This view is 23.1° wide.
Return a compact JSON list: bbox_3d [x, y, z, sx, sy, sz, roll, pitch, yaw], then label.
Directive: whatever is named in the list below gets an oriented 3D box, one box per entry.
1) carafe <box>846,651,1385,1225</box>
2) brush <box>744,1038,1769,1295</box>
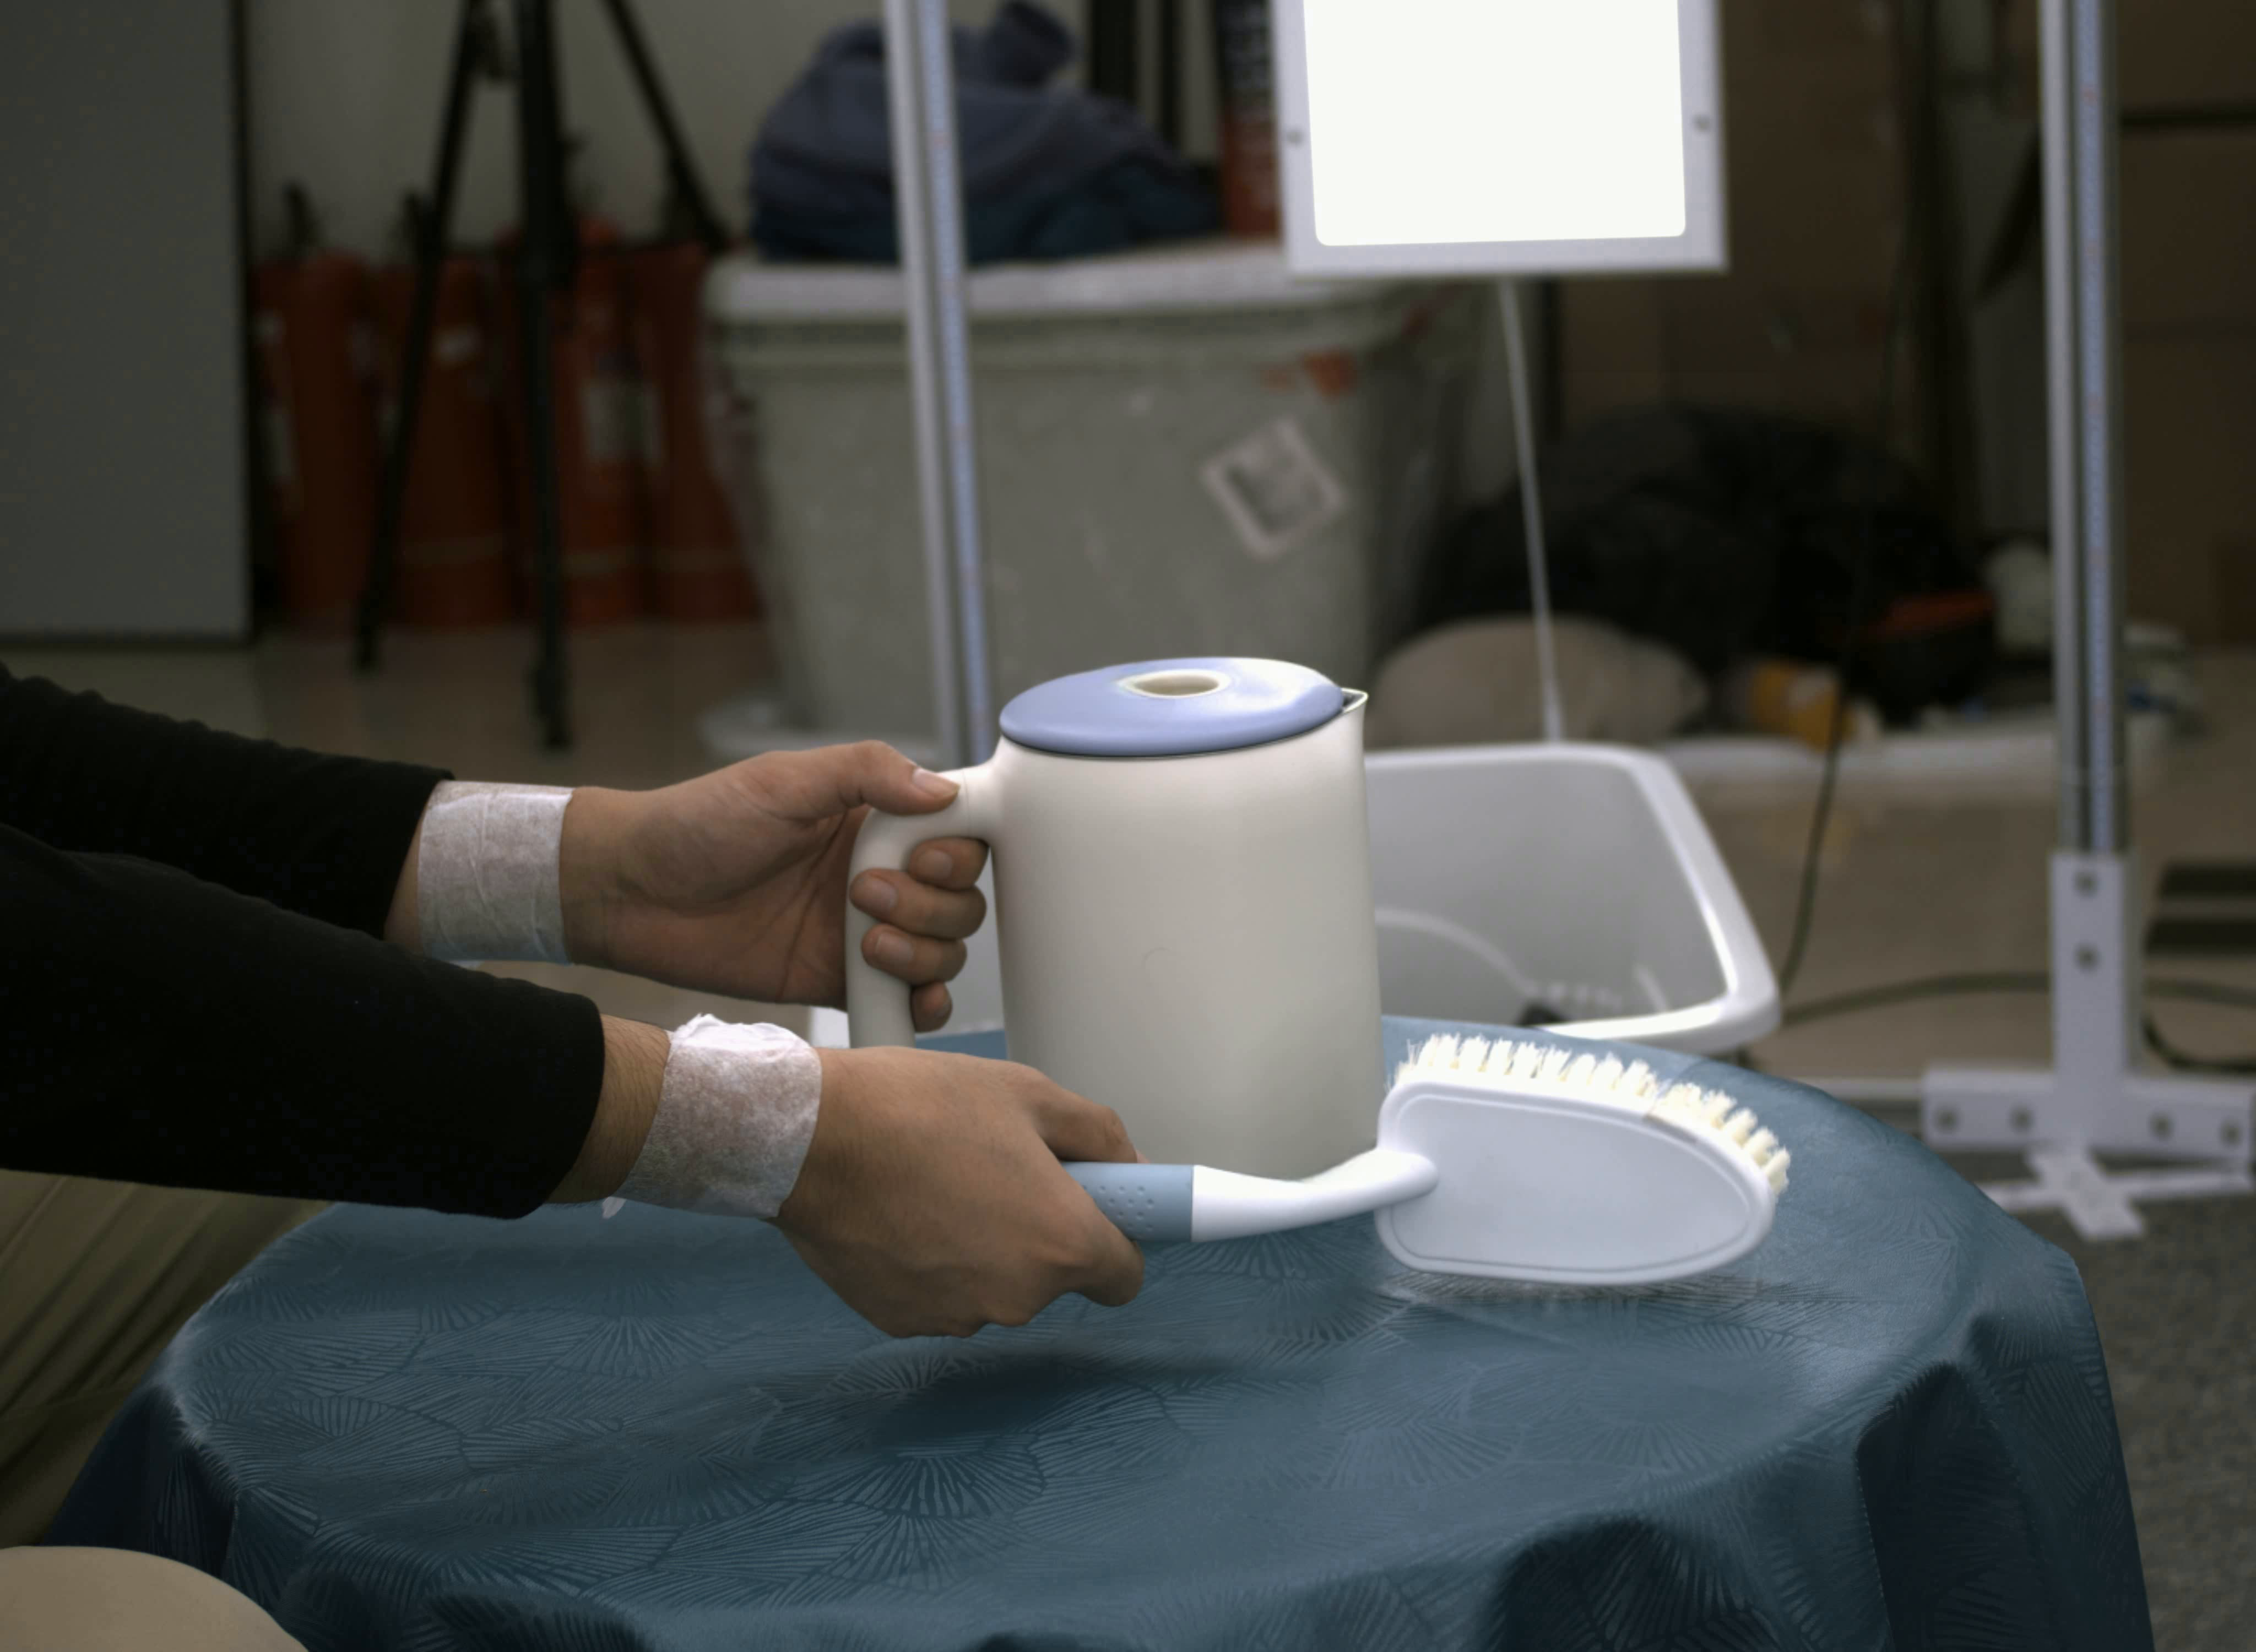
[{"bbox_3d":[-0.004,0.041,1.886,0.189,0.183,0.133,-8,14,-8],"label":"carafe"},{"bbox_3d":[0.041,0.105,1.753,0.325,0.083,0.084,2,-20,4],"label":"brush"}]
